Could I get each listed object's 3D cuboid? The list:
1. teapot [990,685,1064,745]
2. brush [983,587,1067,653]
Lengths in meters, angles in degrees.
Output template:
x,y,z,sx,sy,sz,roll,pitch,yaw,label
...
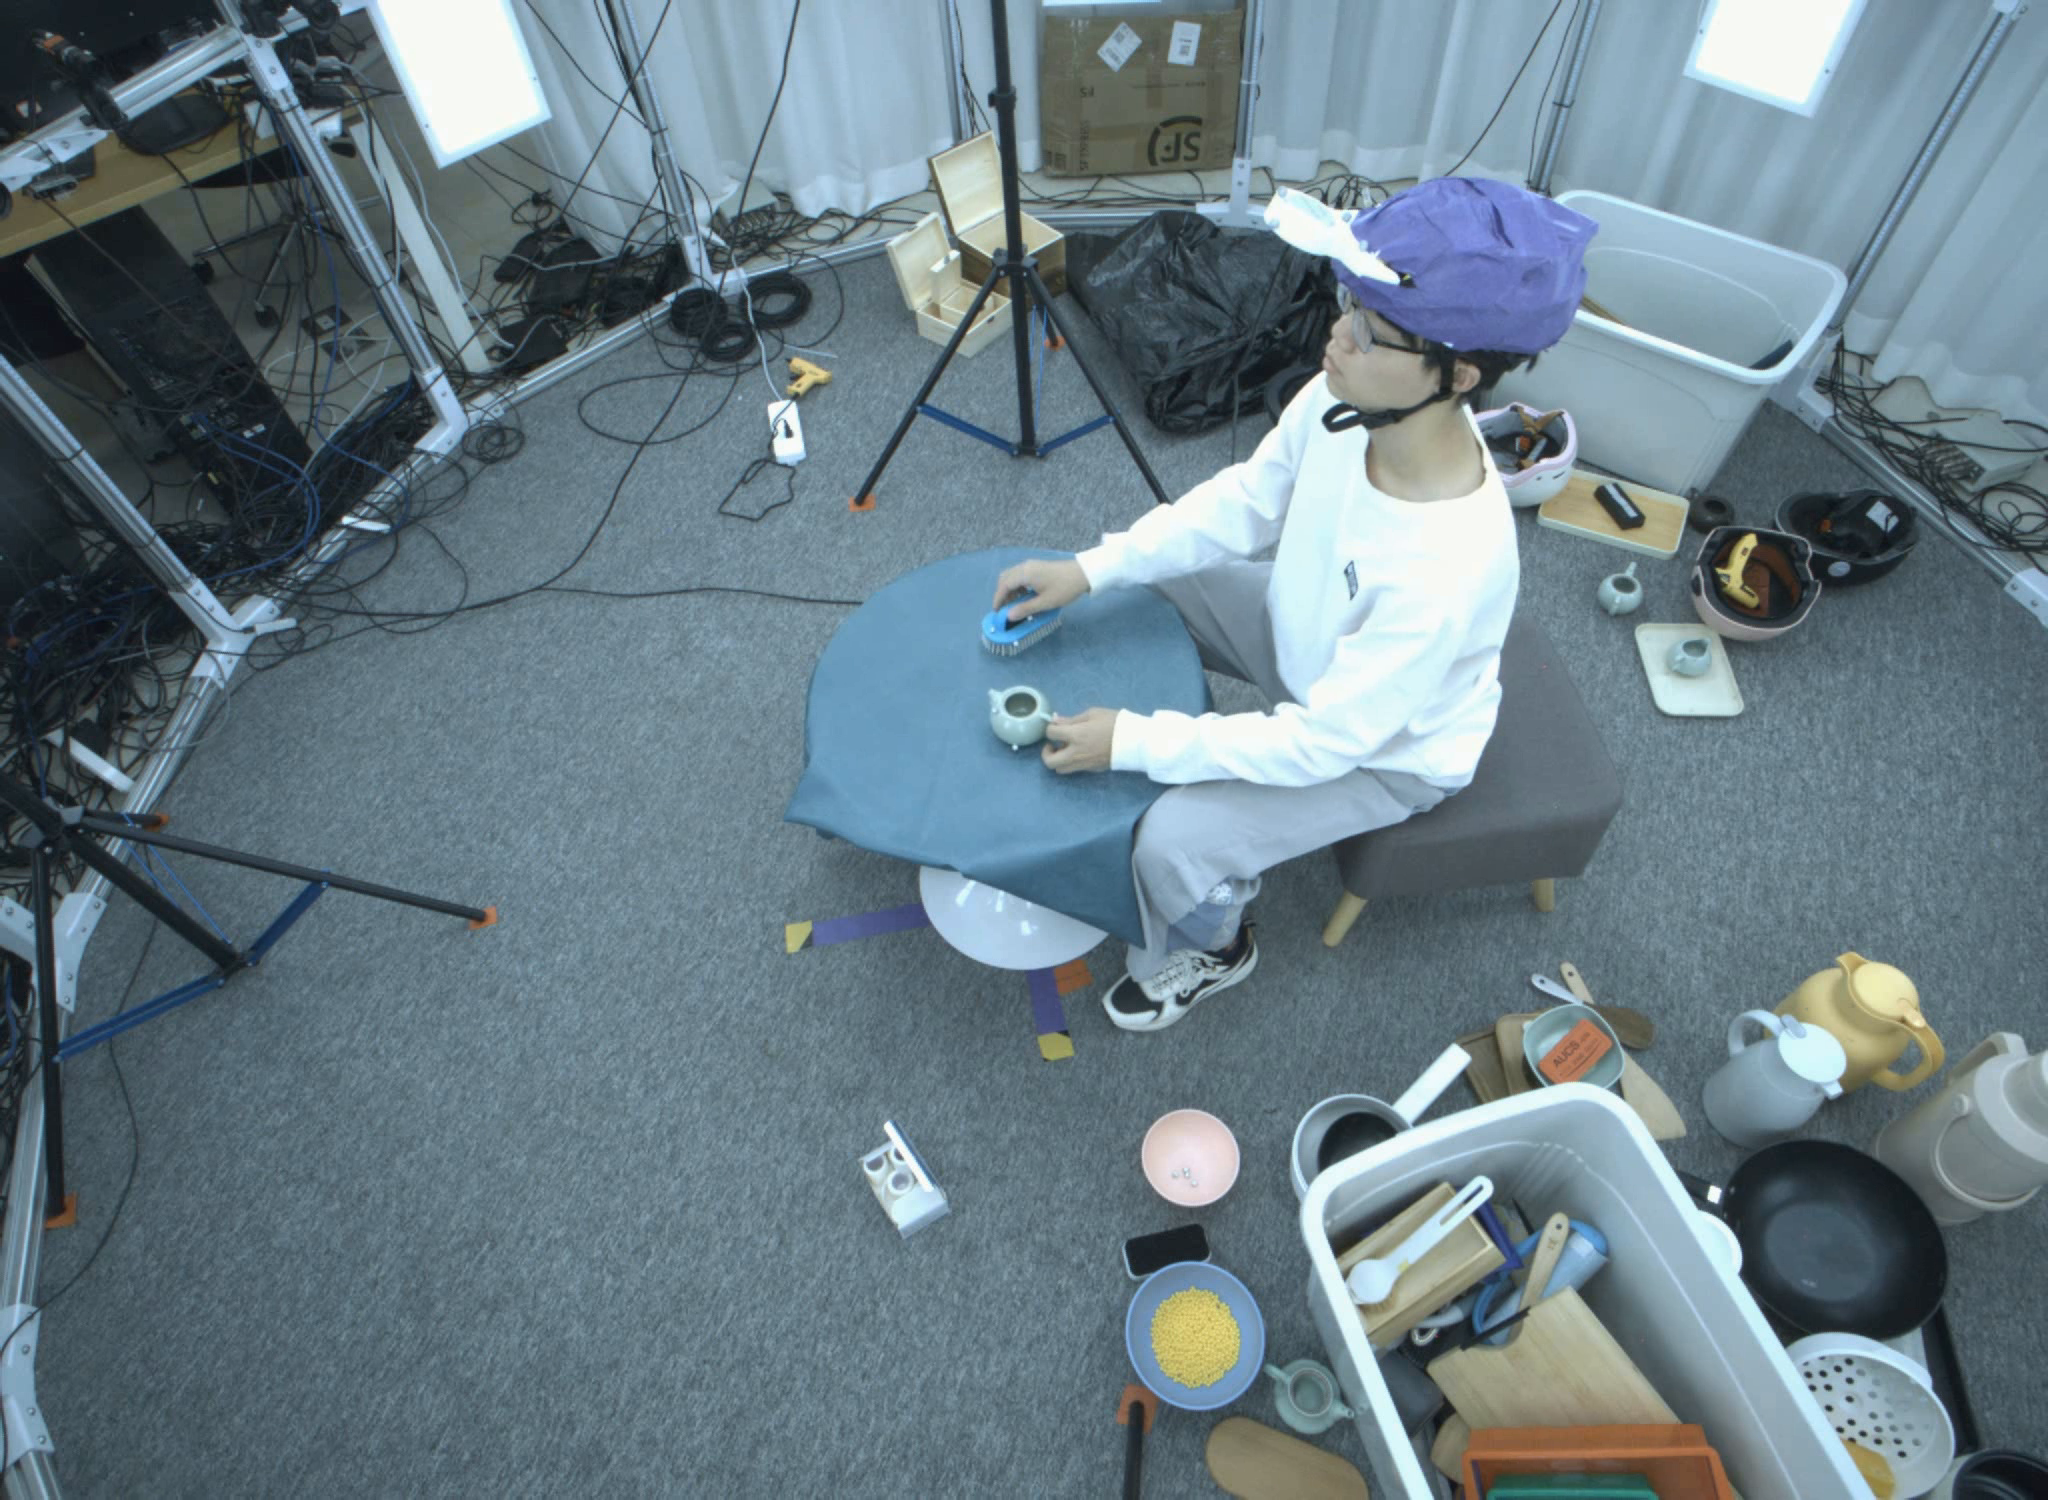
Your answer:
x,y,z,sx,sy,sz,roll,pitch,yaw,label
0.004,-0.046,1.781,0.126,0.061,0.092,30,57,20,teapot
-0.003,-0.212,1.896,0.143,0.064,0.082,-32,55,-20,brush
